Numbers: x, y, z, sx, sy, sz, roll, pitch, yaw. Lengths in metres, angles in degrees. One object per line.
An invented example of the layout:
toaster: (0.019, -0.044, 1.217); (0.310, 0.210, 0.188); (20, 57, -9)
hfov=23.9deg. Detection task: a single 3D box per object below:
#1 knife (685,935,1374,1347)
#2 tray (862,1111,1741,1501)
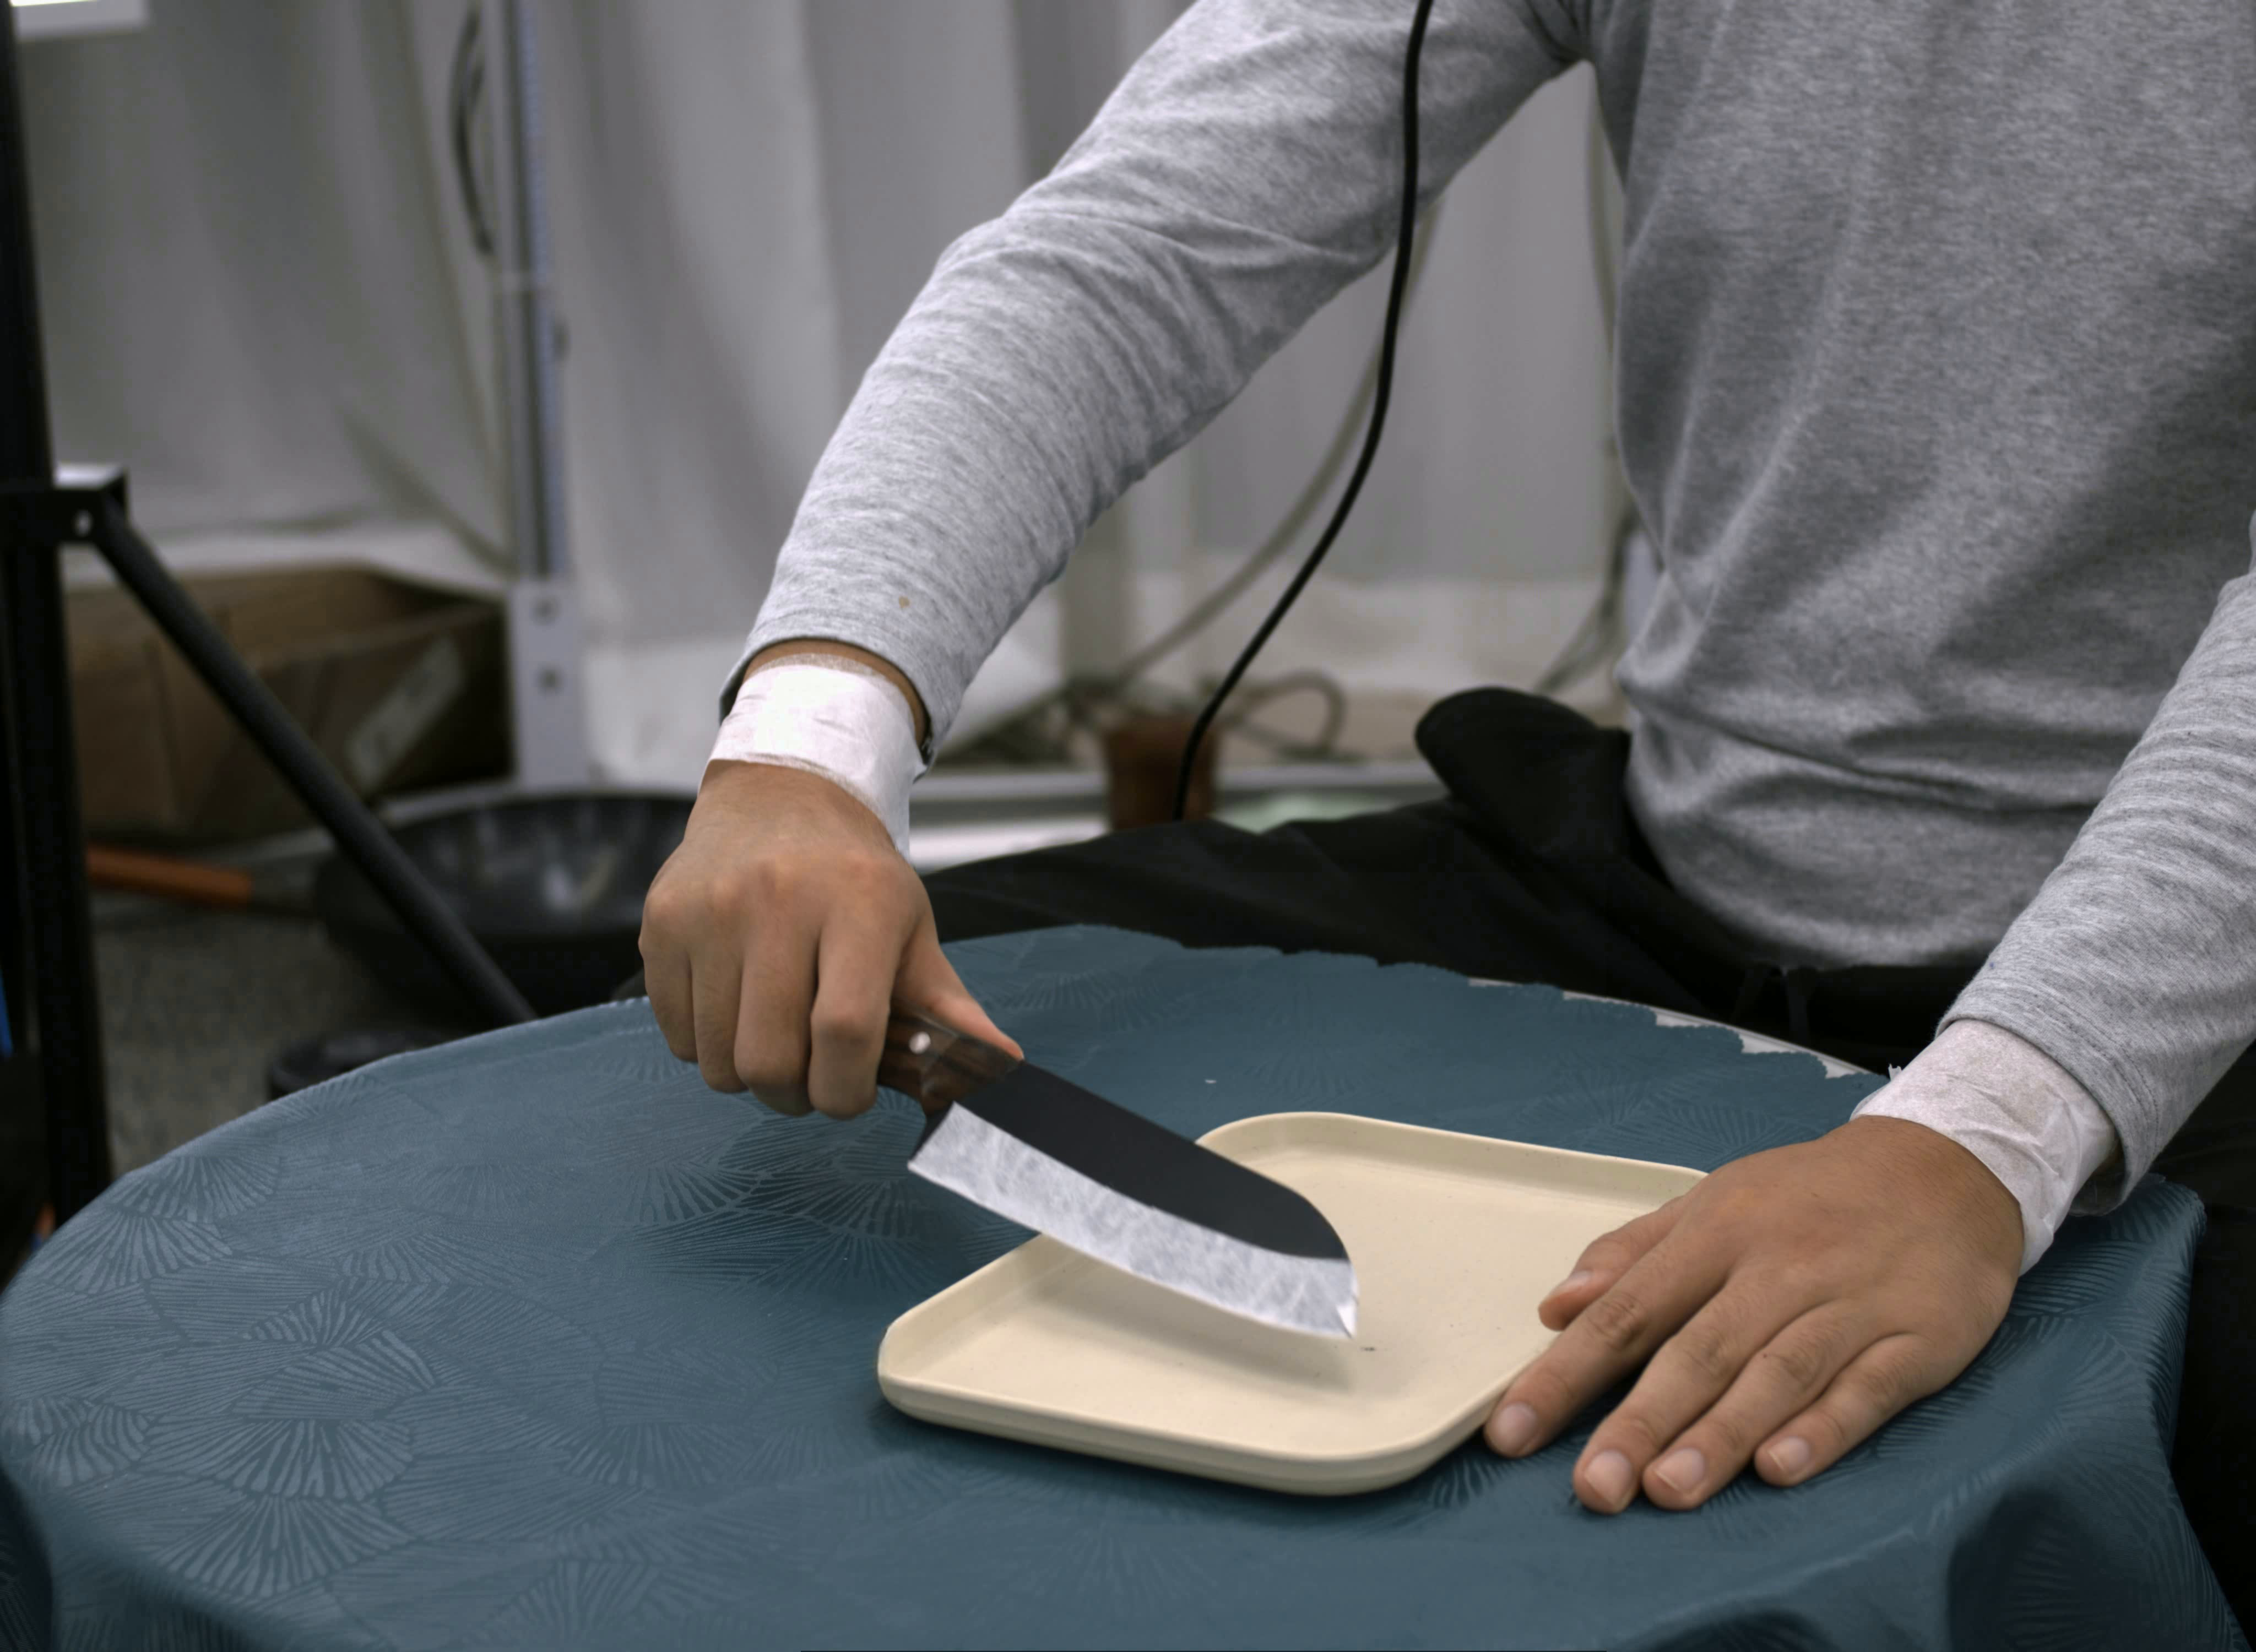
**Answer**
knife: (-0.031, 0.087, 1.489); (0.296, 0.019, 0.050); (26, 71, 44)
tray: (0.051, 0.129, 1.448); (0.174, 0.017, 0.235); (8, 19, 31)
